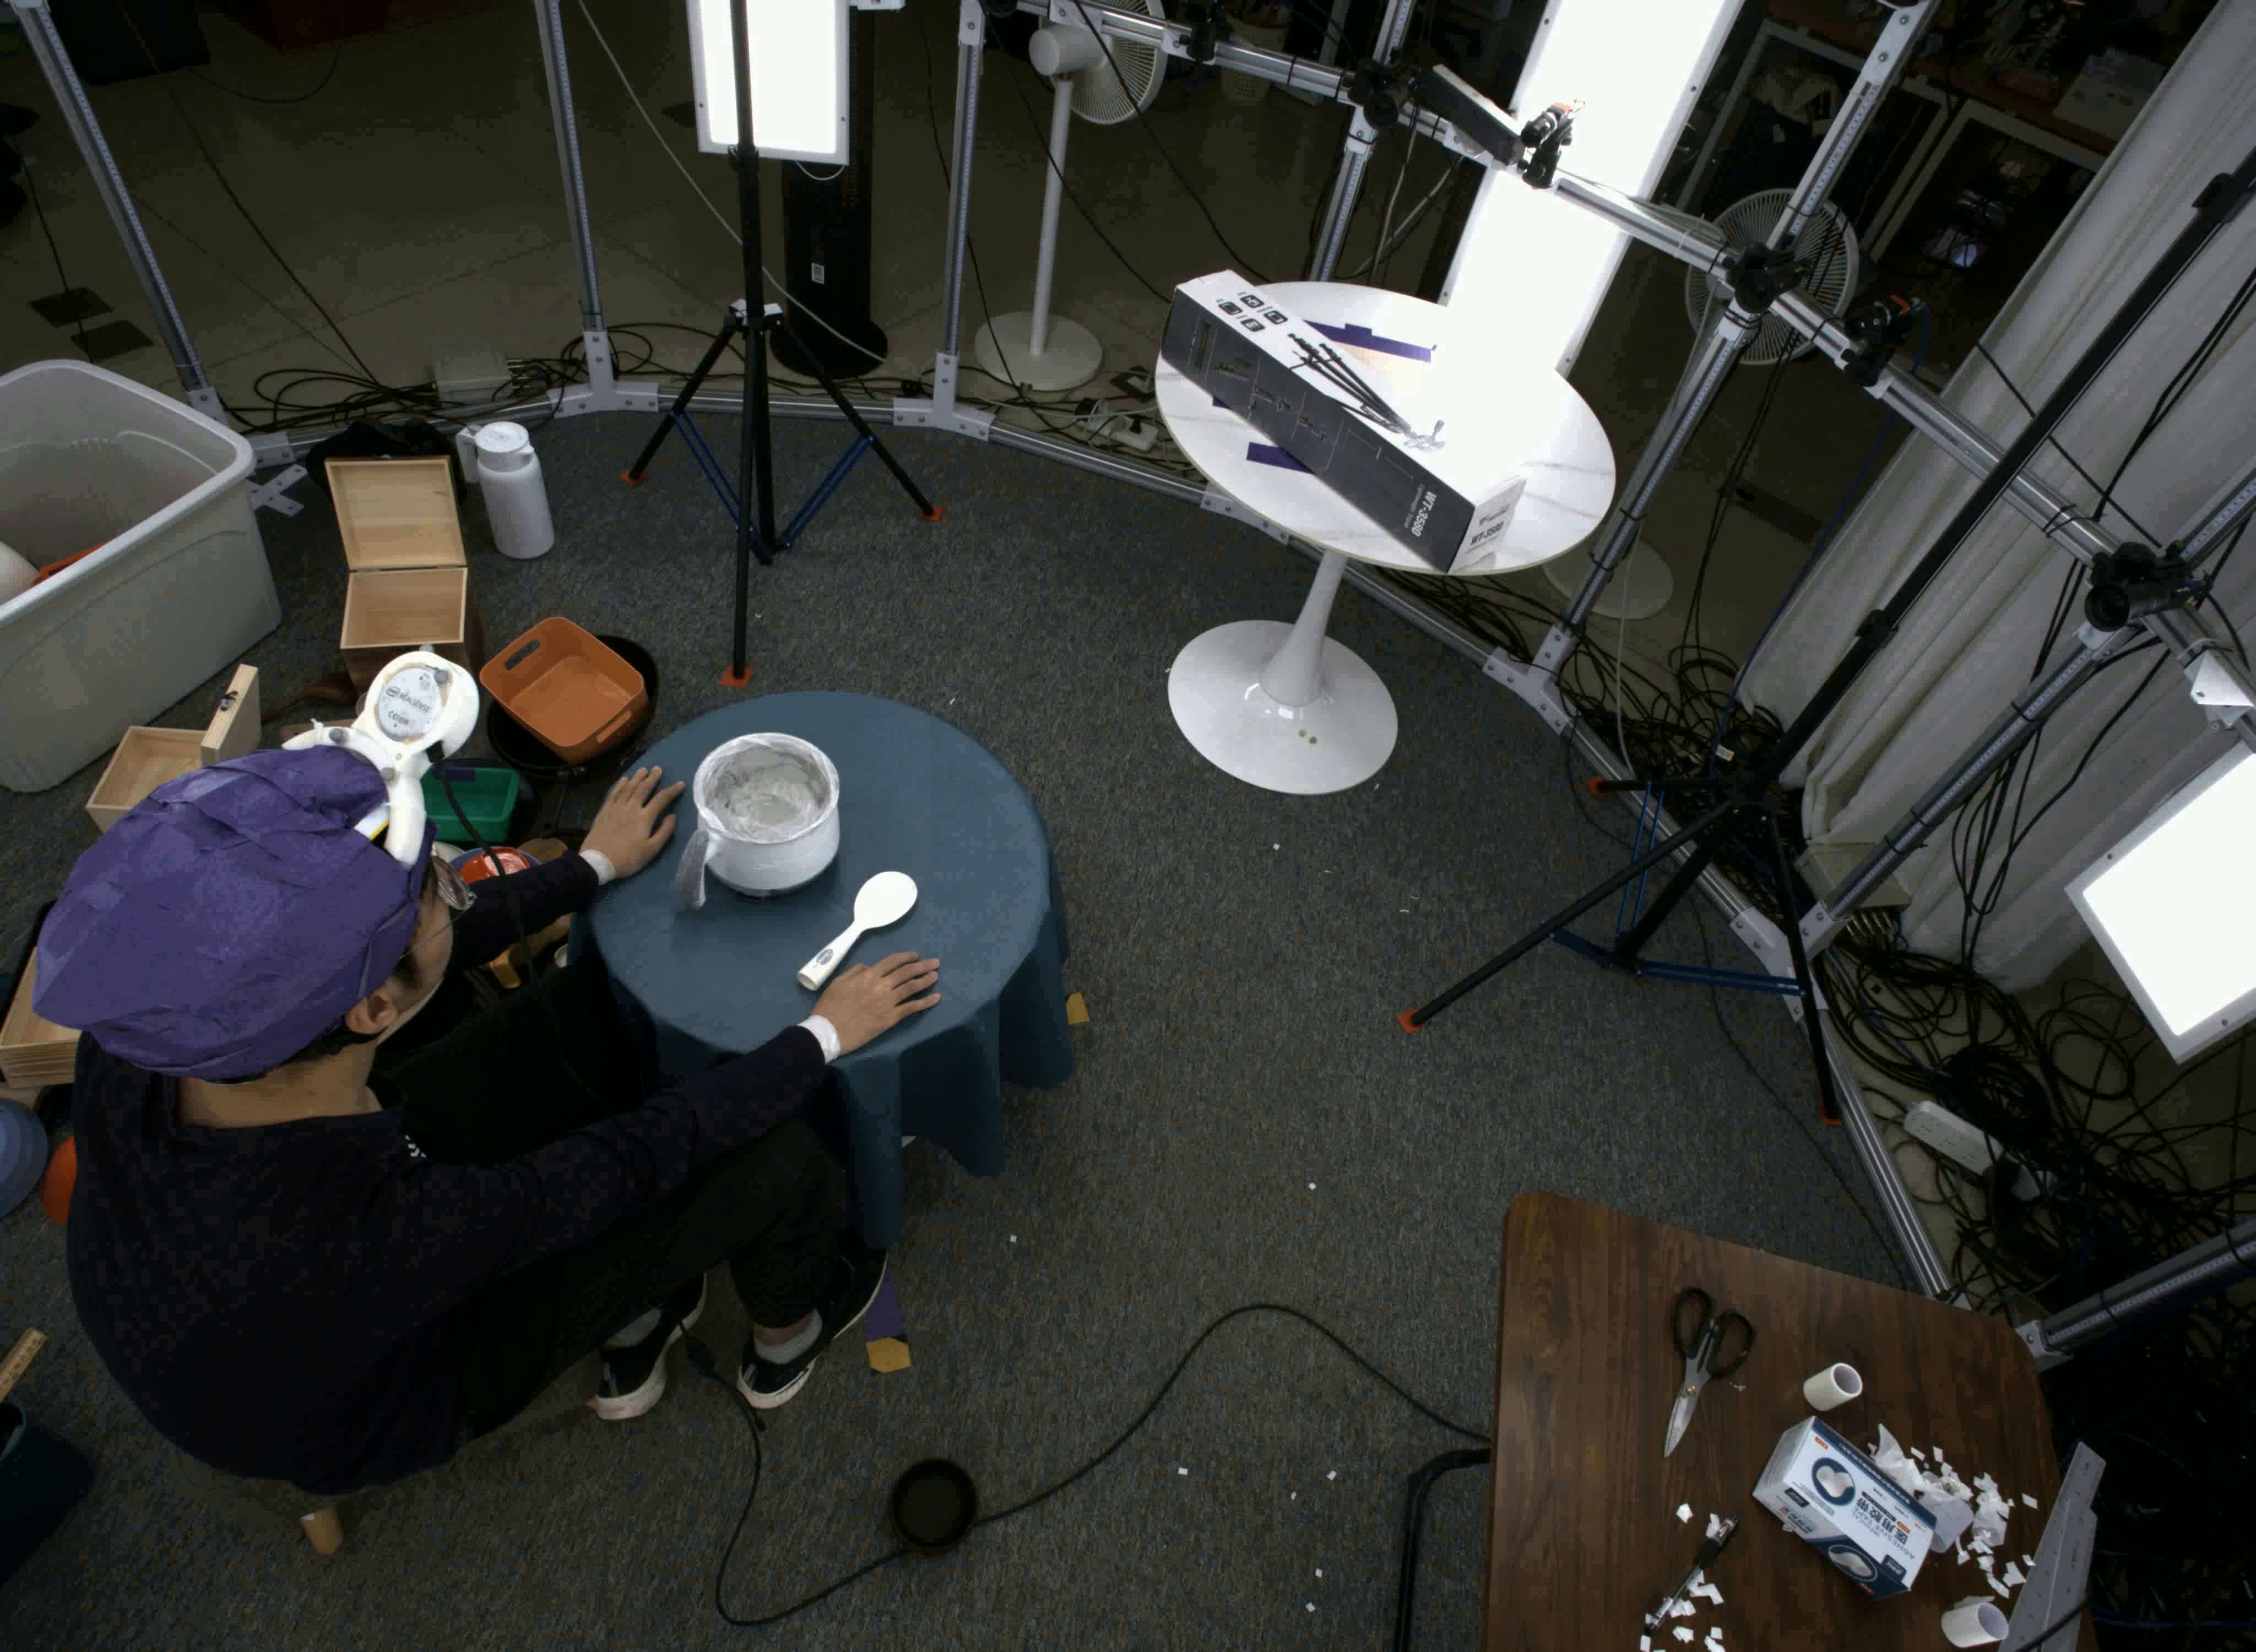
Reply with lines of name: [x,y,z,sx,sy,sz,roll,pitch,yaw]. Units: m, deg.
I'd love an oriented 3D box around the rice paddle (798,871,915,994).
rice paddle: [-0.343,0.126,1.644,0.068,0.030,0.204,31,54,8]

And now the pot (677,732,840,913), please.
pot: [-0.475,0.006,1.634,0.175,0.140,0.233,34,55,15]
